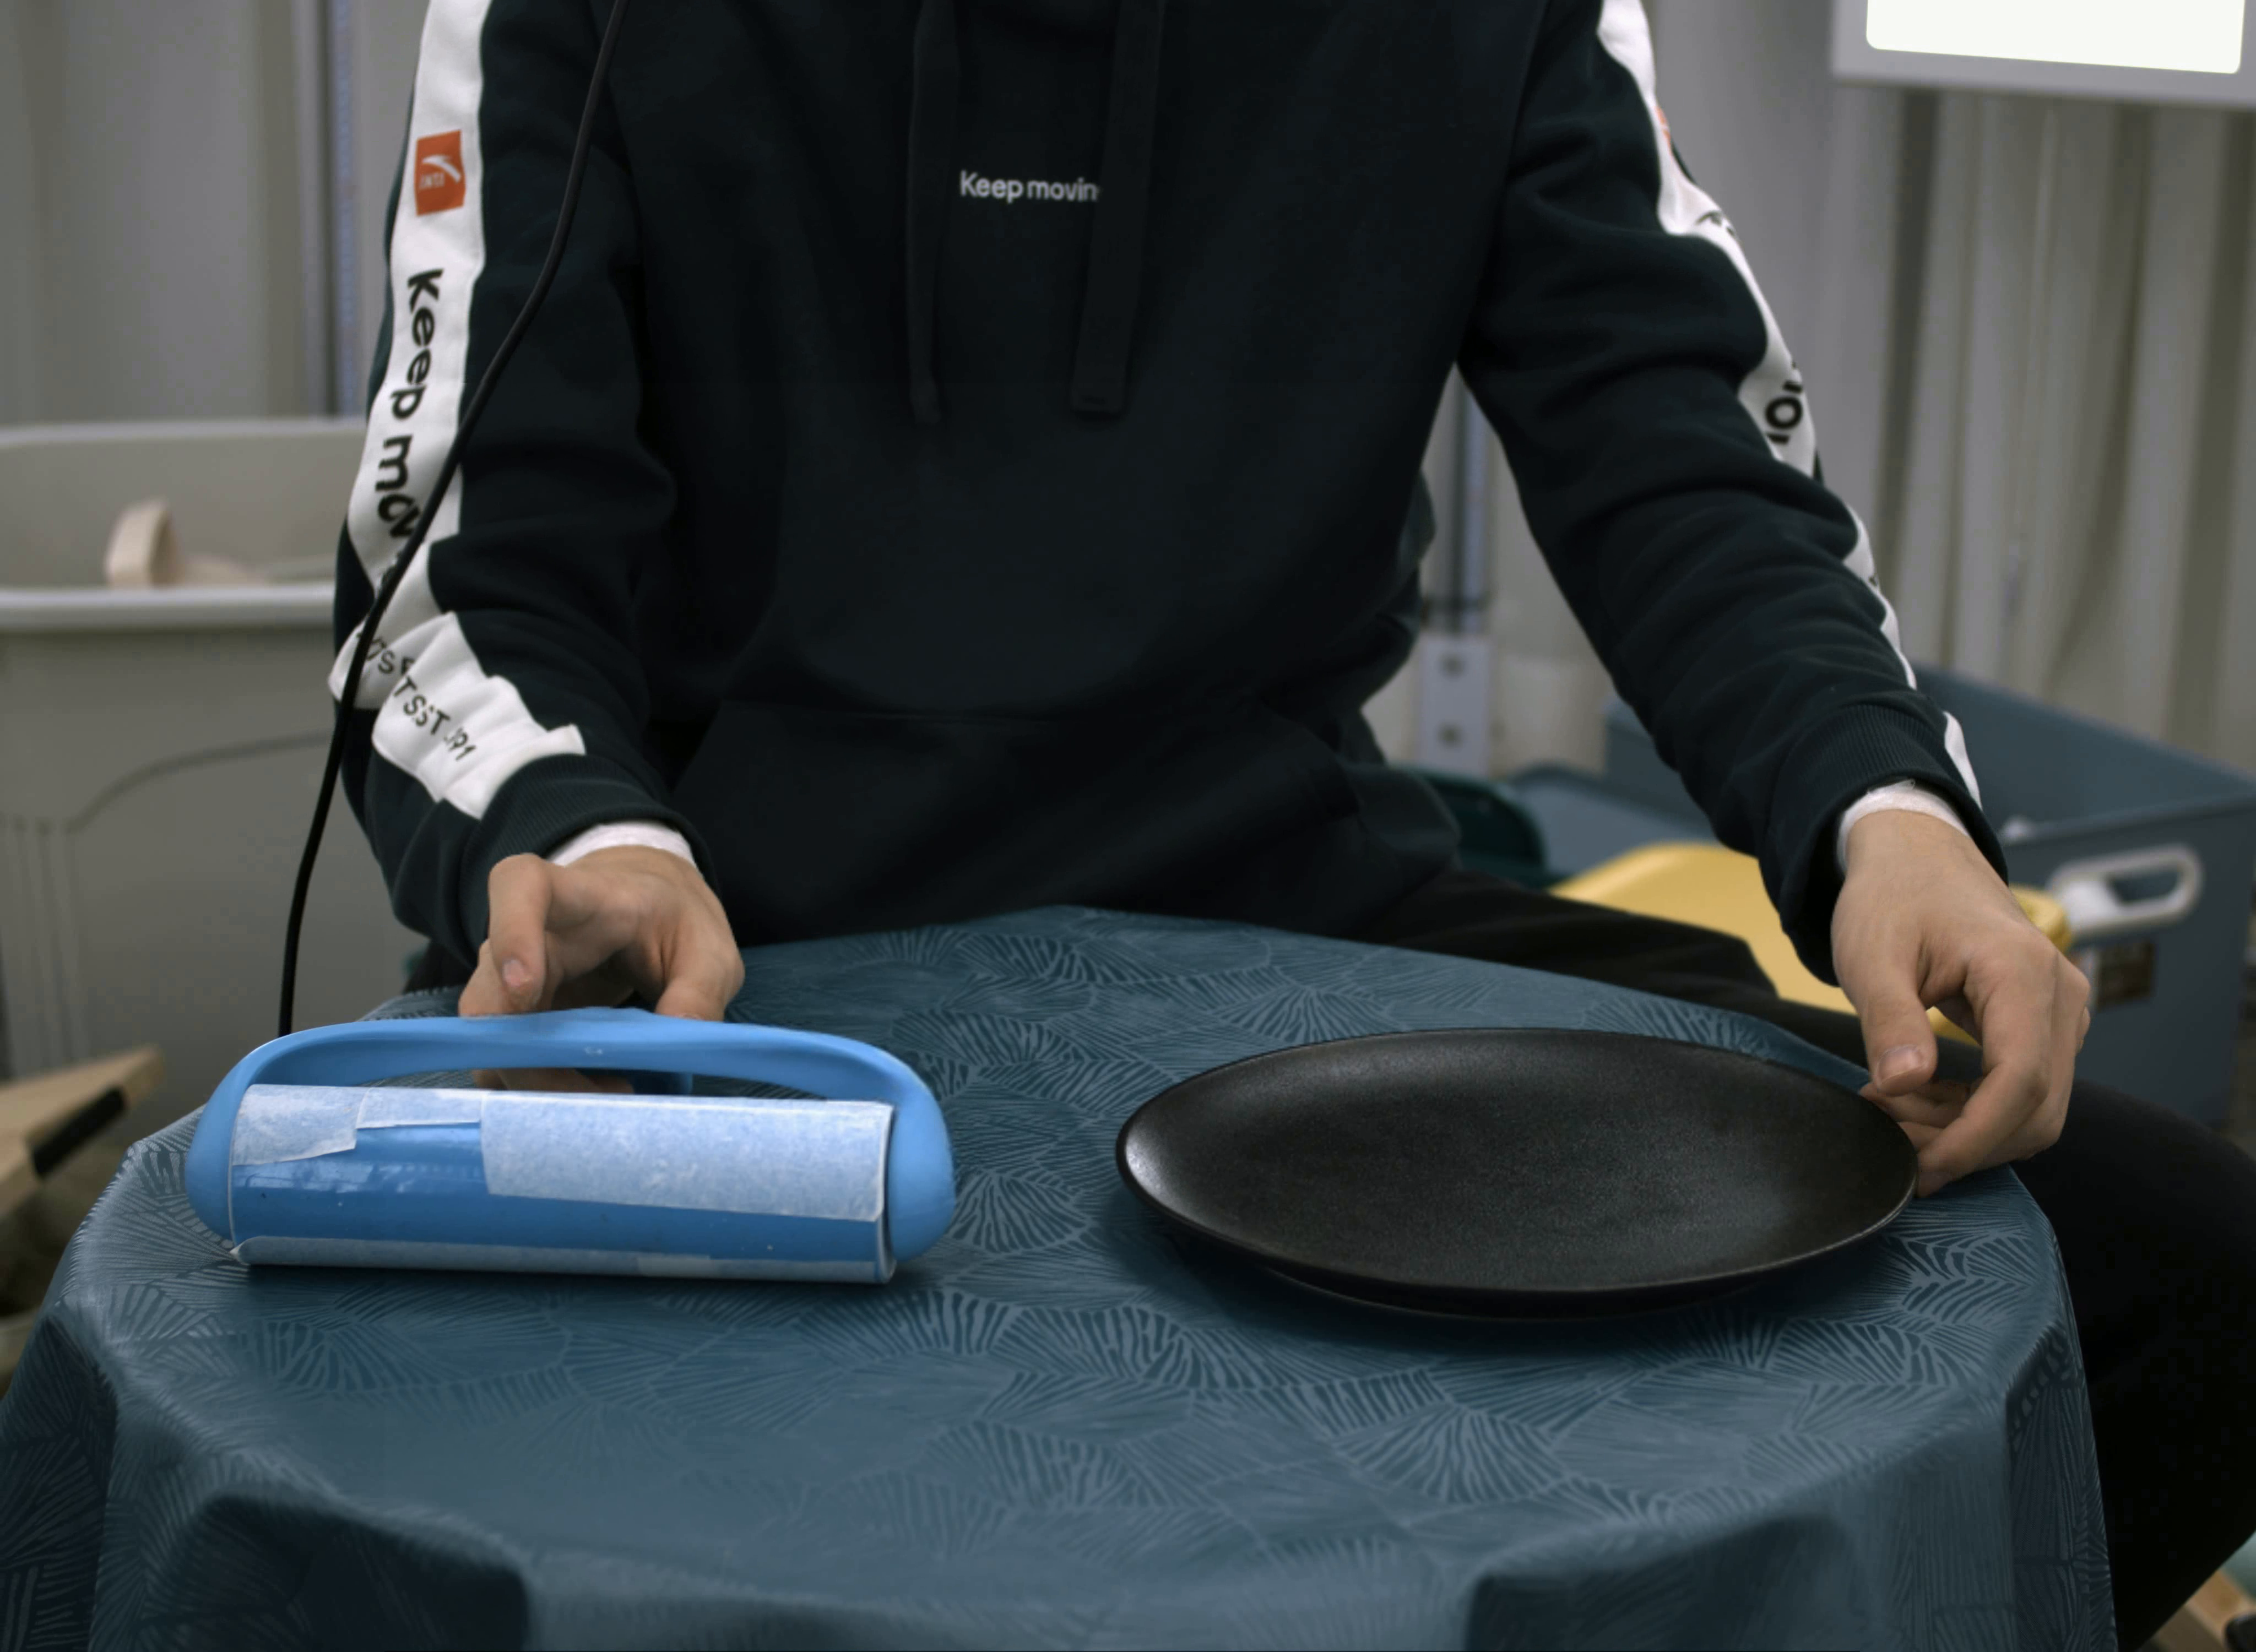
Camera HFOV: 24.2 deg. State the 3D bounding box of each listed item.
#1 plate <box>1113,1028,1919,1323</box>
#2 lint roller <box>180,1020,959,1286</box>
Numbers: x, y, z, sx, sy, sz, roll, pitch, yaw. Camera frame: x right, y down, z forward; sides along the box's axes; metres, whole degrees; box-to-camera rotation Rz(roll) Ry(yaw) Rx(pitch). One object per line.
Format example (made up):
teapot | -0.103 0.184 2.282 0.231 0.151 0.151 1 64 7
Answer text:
plate | 0.117 0.108 1.595 0.243 0.023 0.243 1 16 0
lint roller | -0.162 0.089 1.595 0.228 0.068 0.179 -1 15 1
